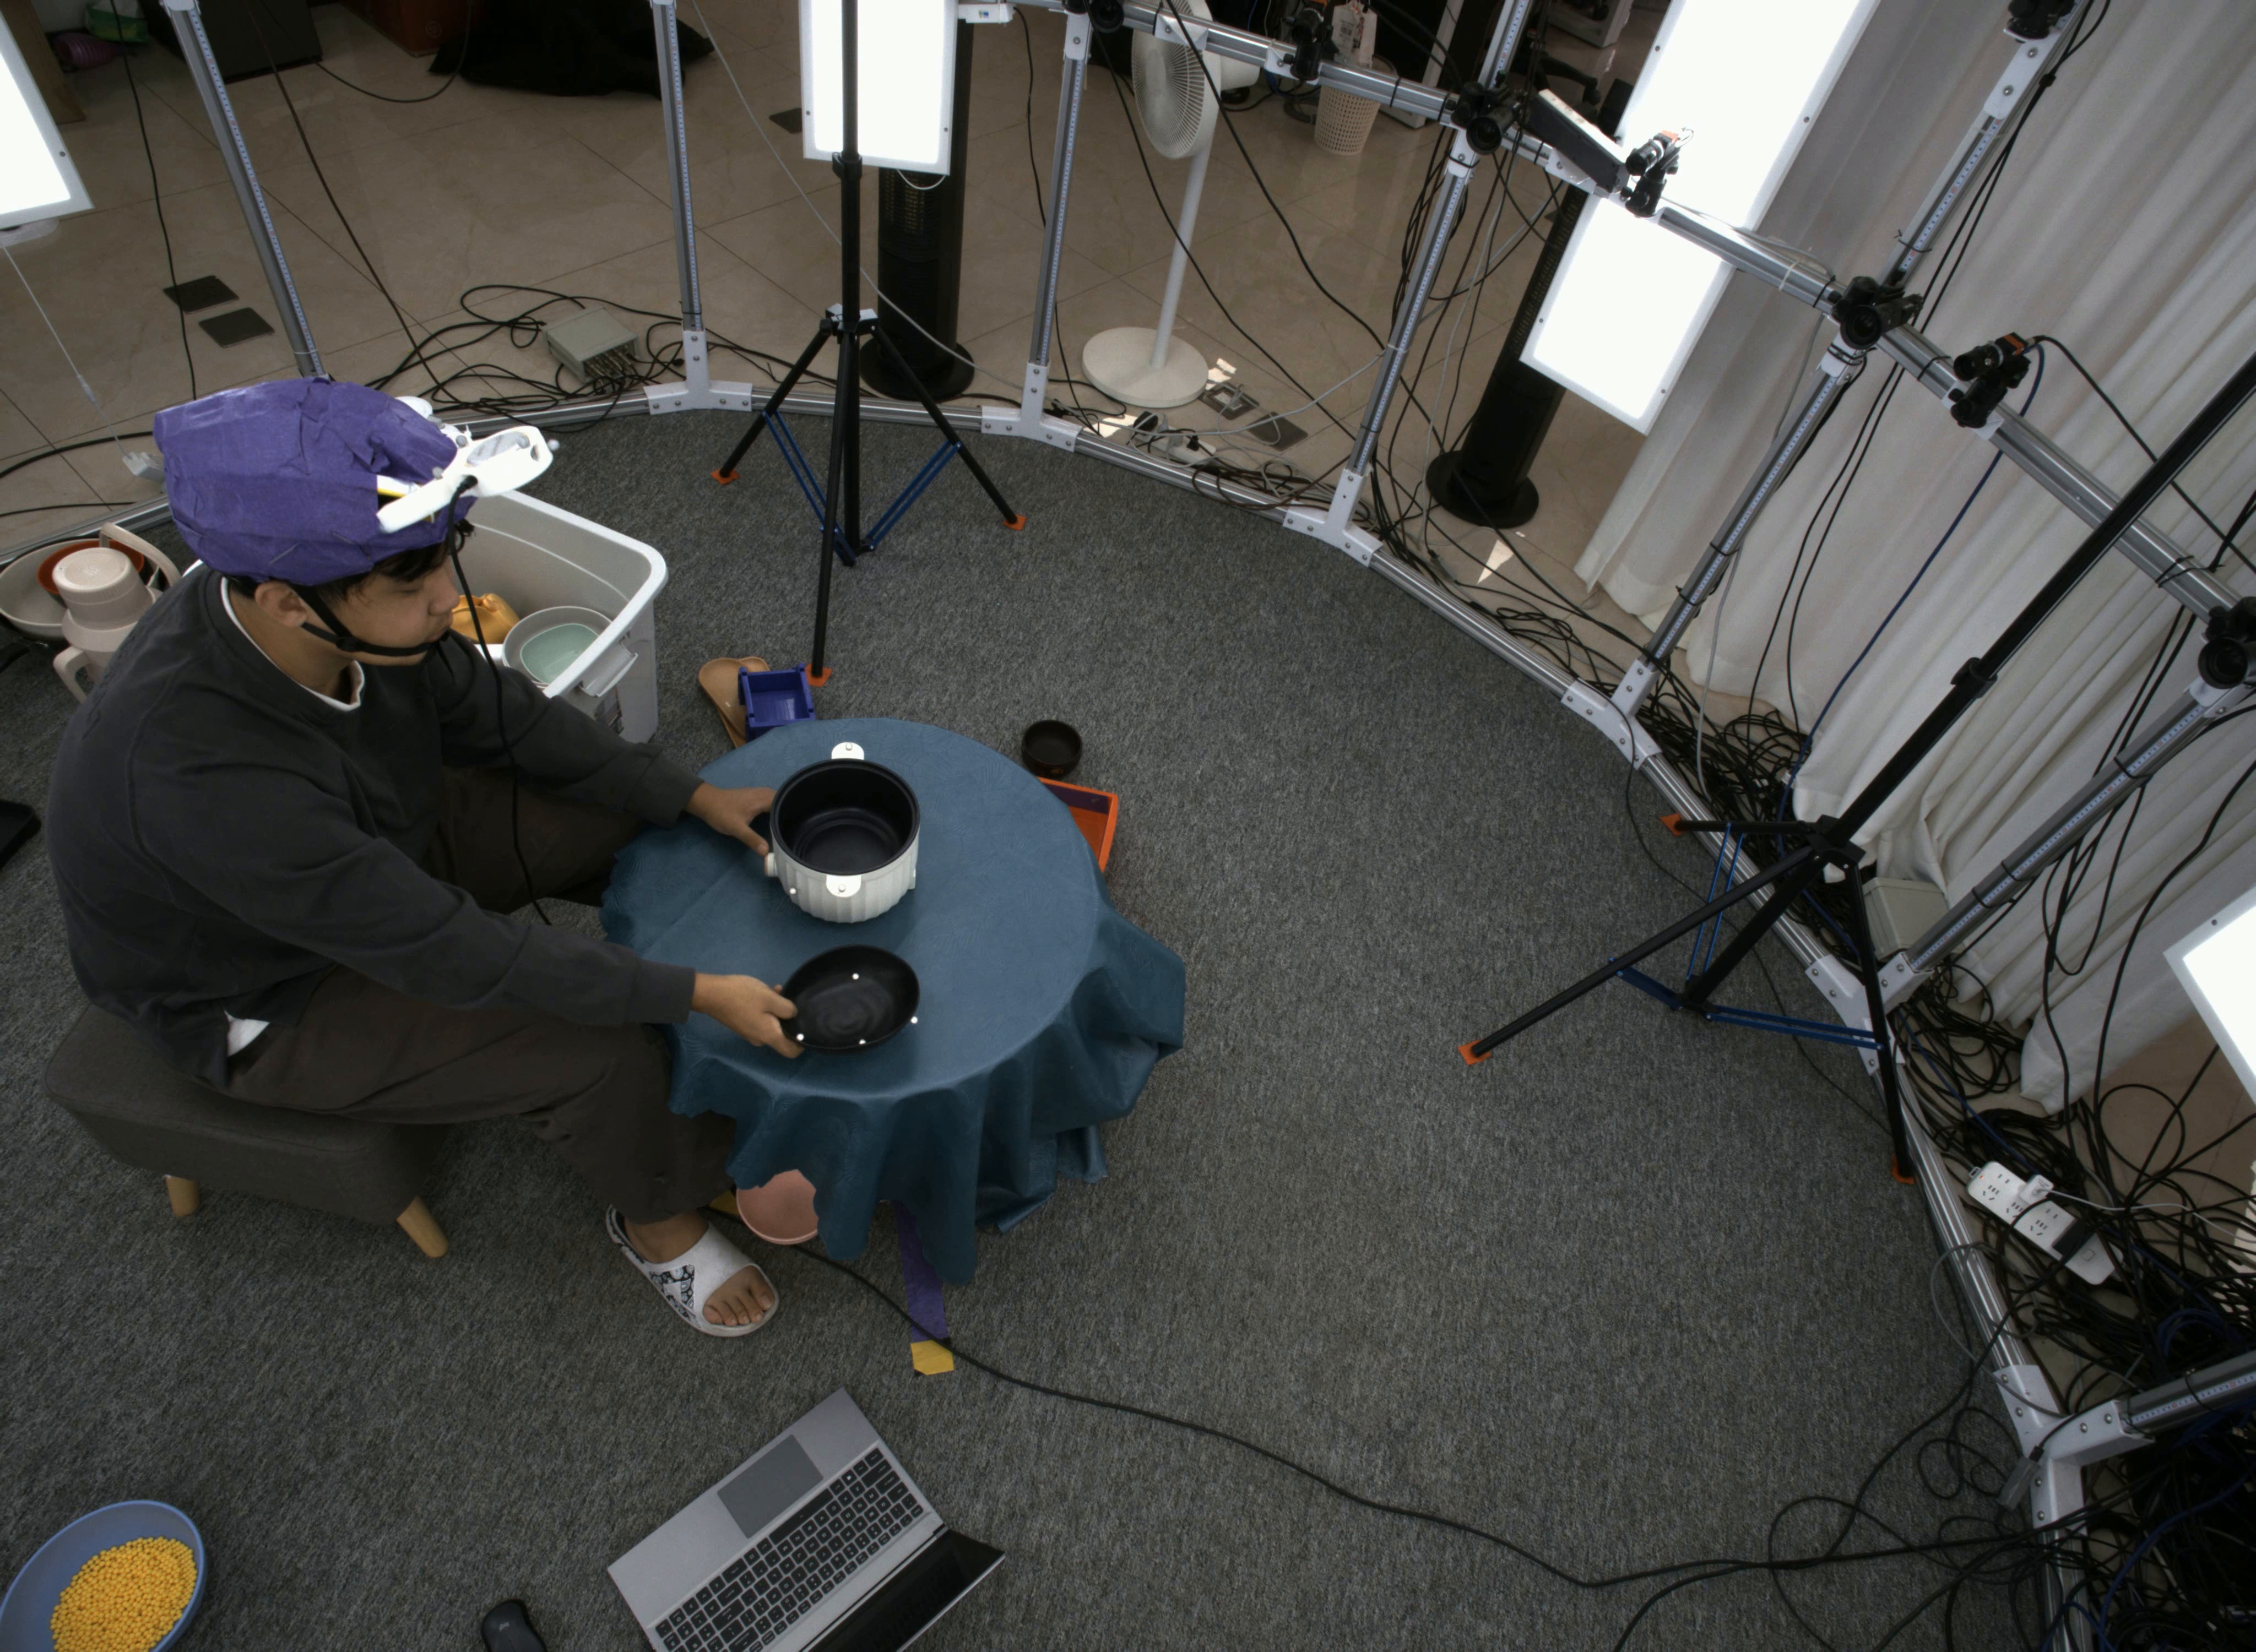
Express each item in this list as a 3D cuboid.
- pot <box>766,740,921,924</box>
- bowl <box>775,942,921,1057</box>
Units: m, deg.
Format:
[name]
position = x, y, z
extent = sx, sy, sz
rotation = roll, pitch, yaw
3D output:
[pot]
position = -0.358, 0.026, 1.628
extent = 0.191, 0.145, 0.235
rotation = 2, 52, -15
[bowl]
position = -0.326, 0.213, 1.519
extent = 0.171, 0.068, 0.134
rotation = -19, 61, -27
